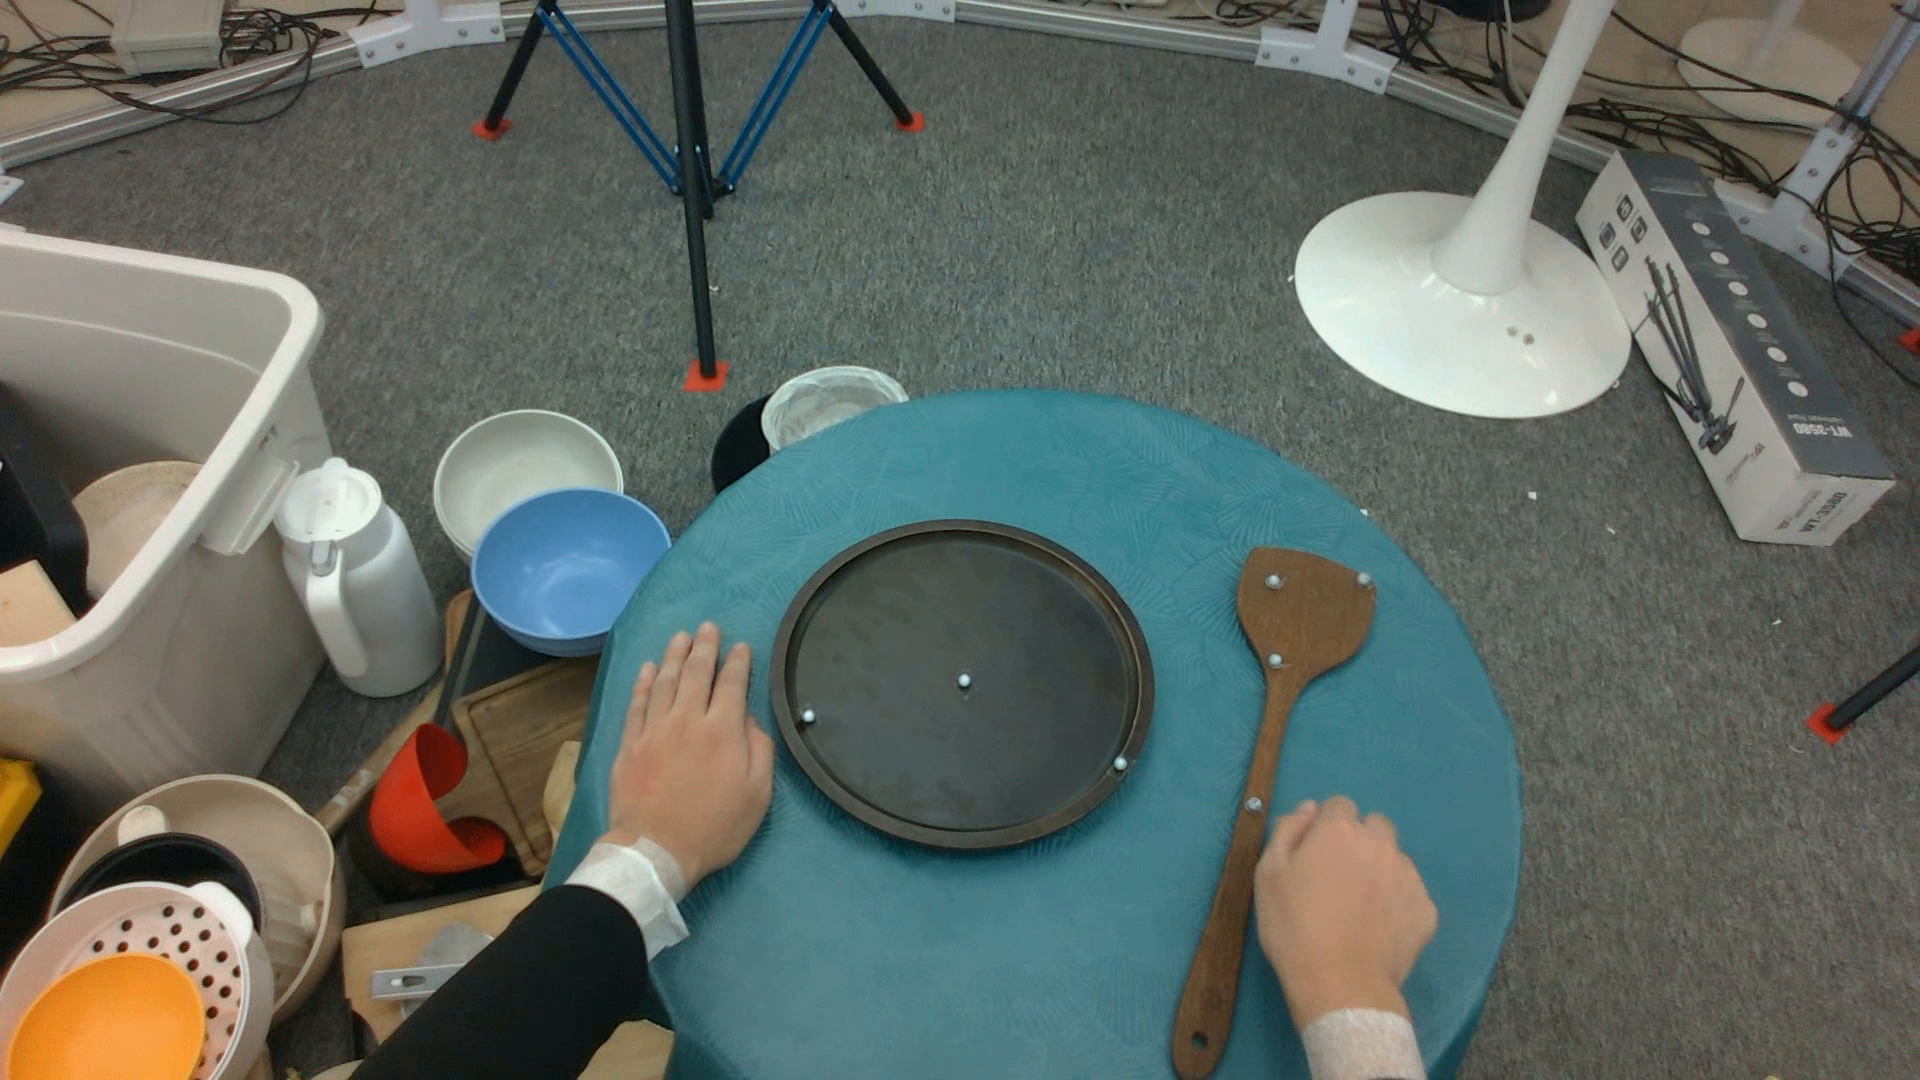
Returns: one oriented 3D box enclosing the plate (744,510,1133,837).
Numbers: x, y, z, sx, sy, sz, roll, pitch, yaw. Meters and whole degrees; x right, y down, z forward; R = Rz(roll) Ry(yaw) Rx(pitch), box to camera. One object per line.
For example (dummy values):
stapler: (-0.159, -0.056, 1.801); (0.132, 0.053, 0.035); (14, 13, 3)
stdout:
plate: (-0.014, 0.081, 0.901); (0.255, 0.029, 0.256); (4, 51, -5)

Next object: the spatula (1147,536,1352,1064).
spatula: (0.176, 0.146, 0.875); (0.096, 0.016, 0.388); (17, 52, 8)
